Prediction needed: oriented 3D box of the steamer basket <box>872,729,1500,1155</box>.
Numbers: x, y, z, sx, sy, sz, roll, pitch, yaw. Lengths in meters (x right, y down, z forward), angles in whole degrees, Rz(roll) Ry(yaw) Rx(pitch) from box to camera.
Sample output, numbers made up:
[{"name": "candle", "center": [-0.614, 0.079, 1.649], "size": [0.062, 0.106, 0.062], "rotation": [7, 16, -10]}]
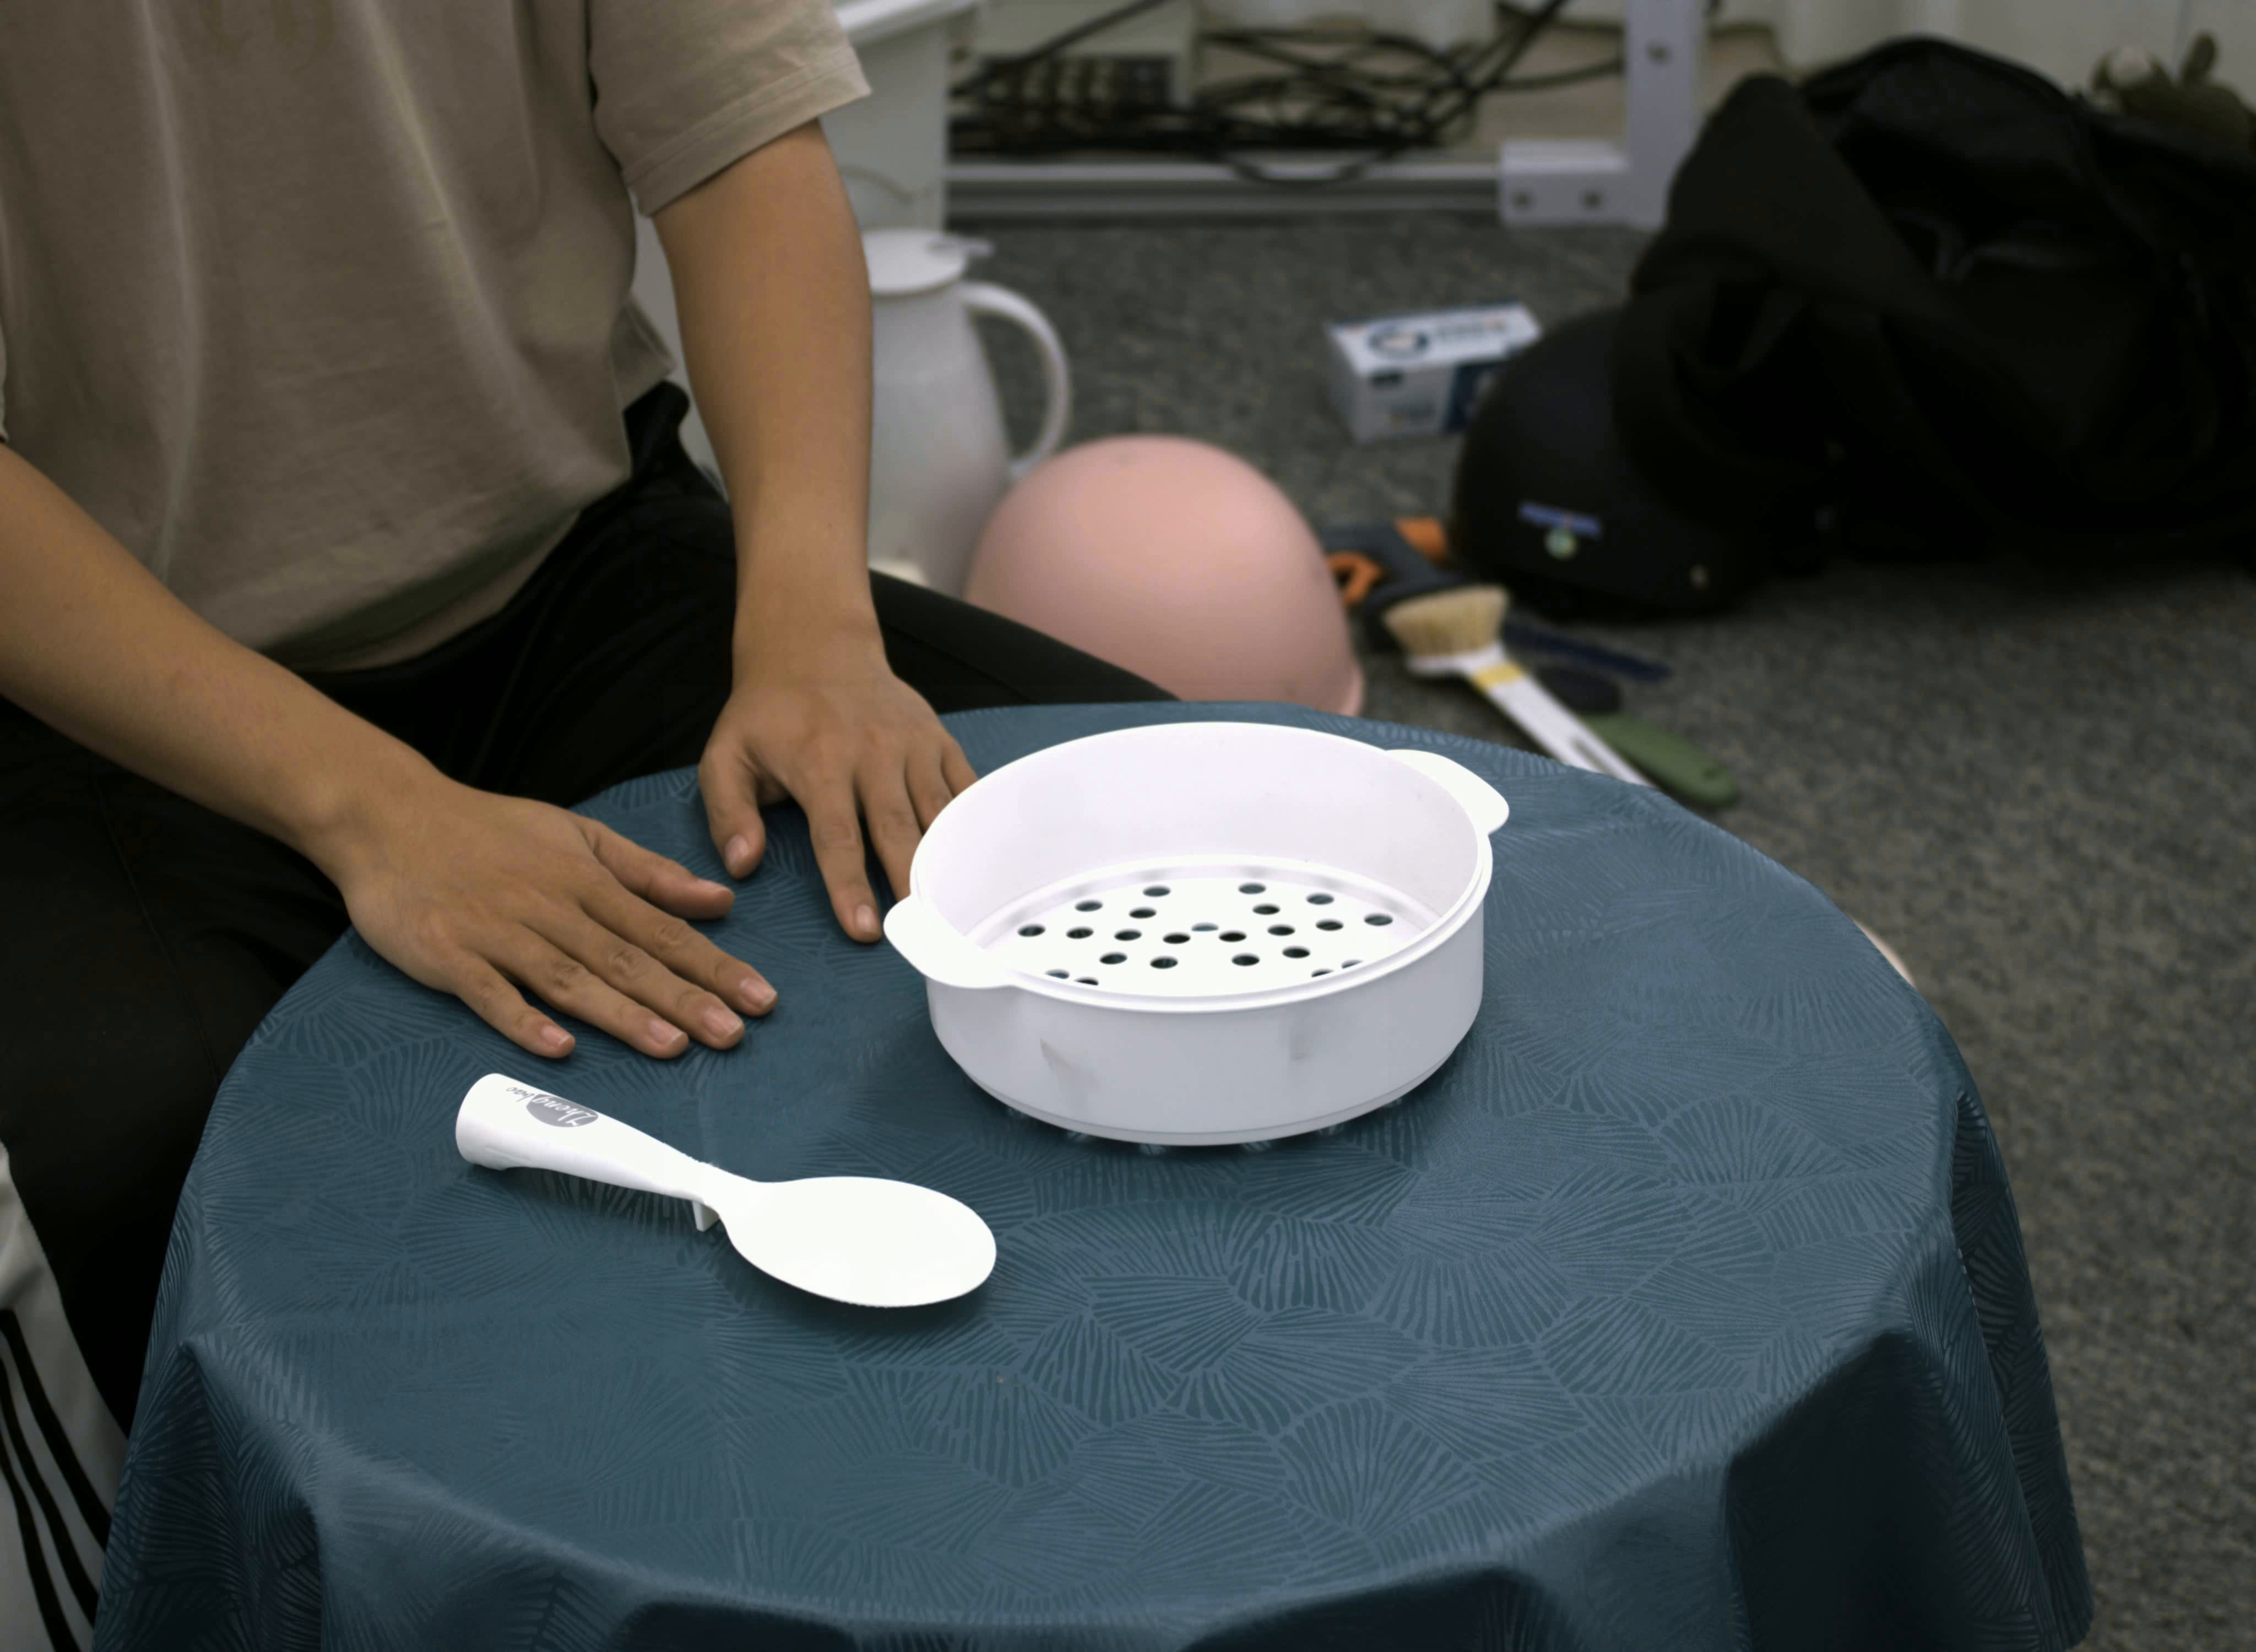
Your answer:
[{"name": "steamer basket", "center": [0.022, 0.041, 1.945], "size": [0.232, 0.068, 0.203], "rotation": [-15, 31, -26]}]

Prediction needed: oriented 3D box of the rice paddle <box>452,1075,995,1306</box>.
[{"name": "rice paddle", "center": [-0.133, 0.120, 1.843], "size": [0.204, 0.029, 0.070], "rotation": [15, 33, 29]}]
